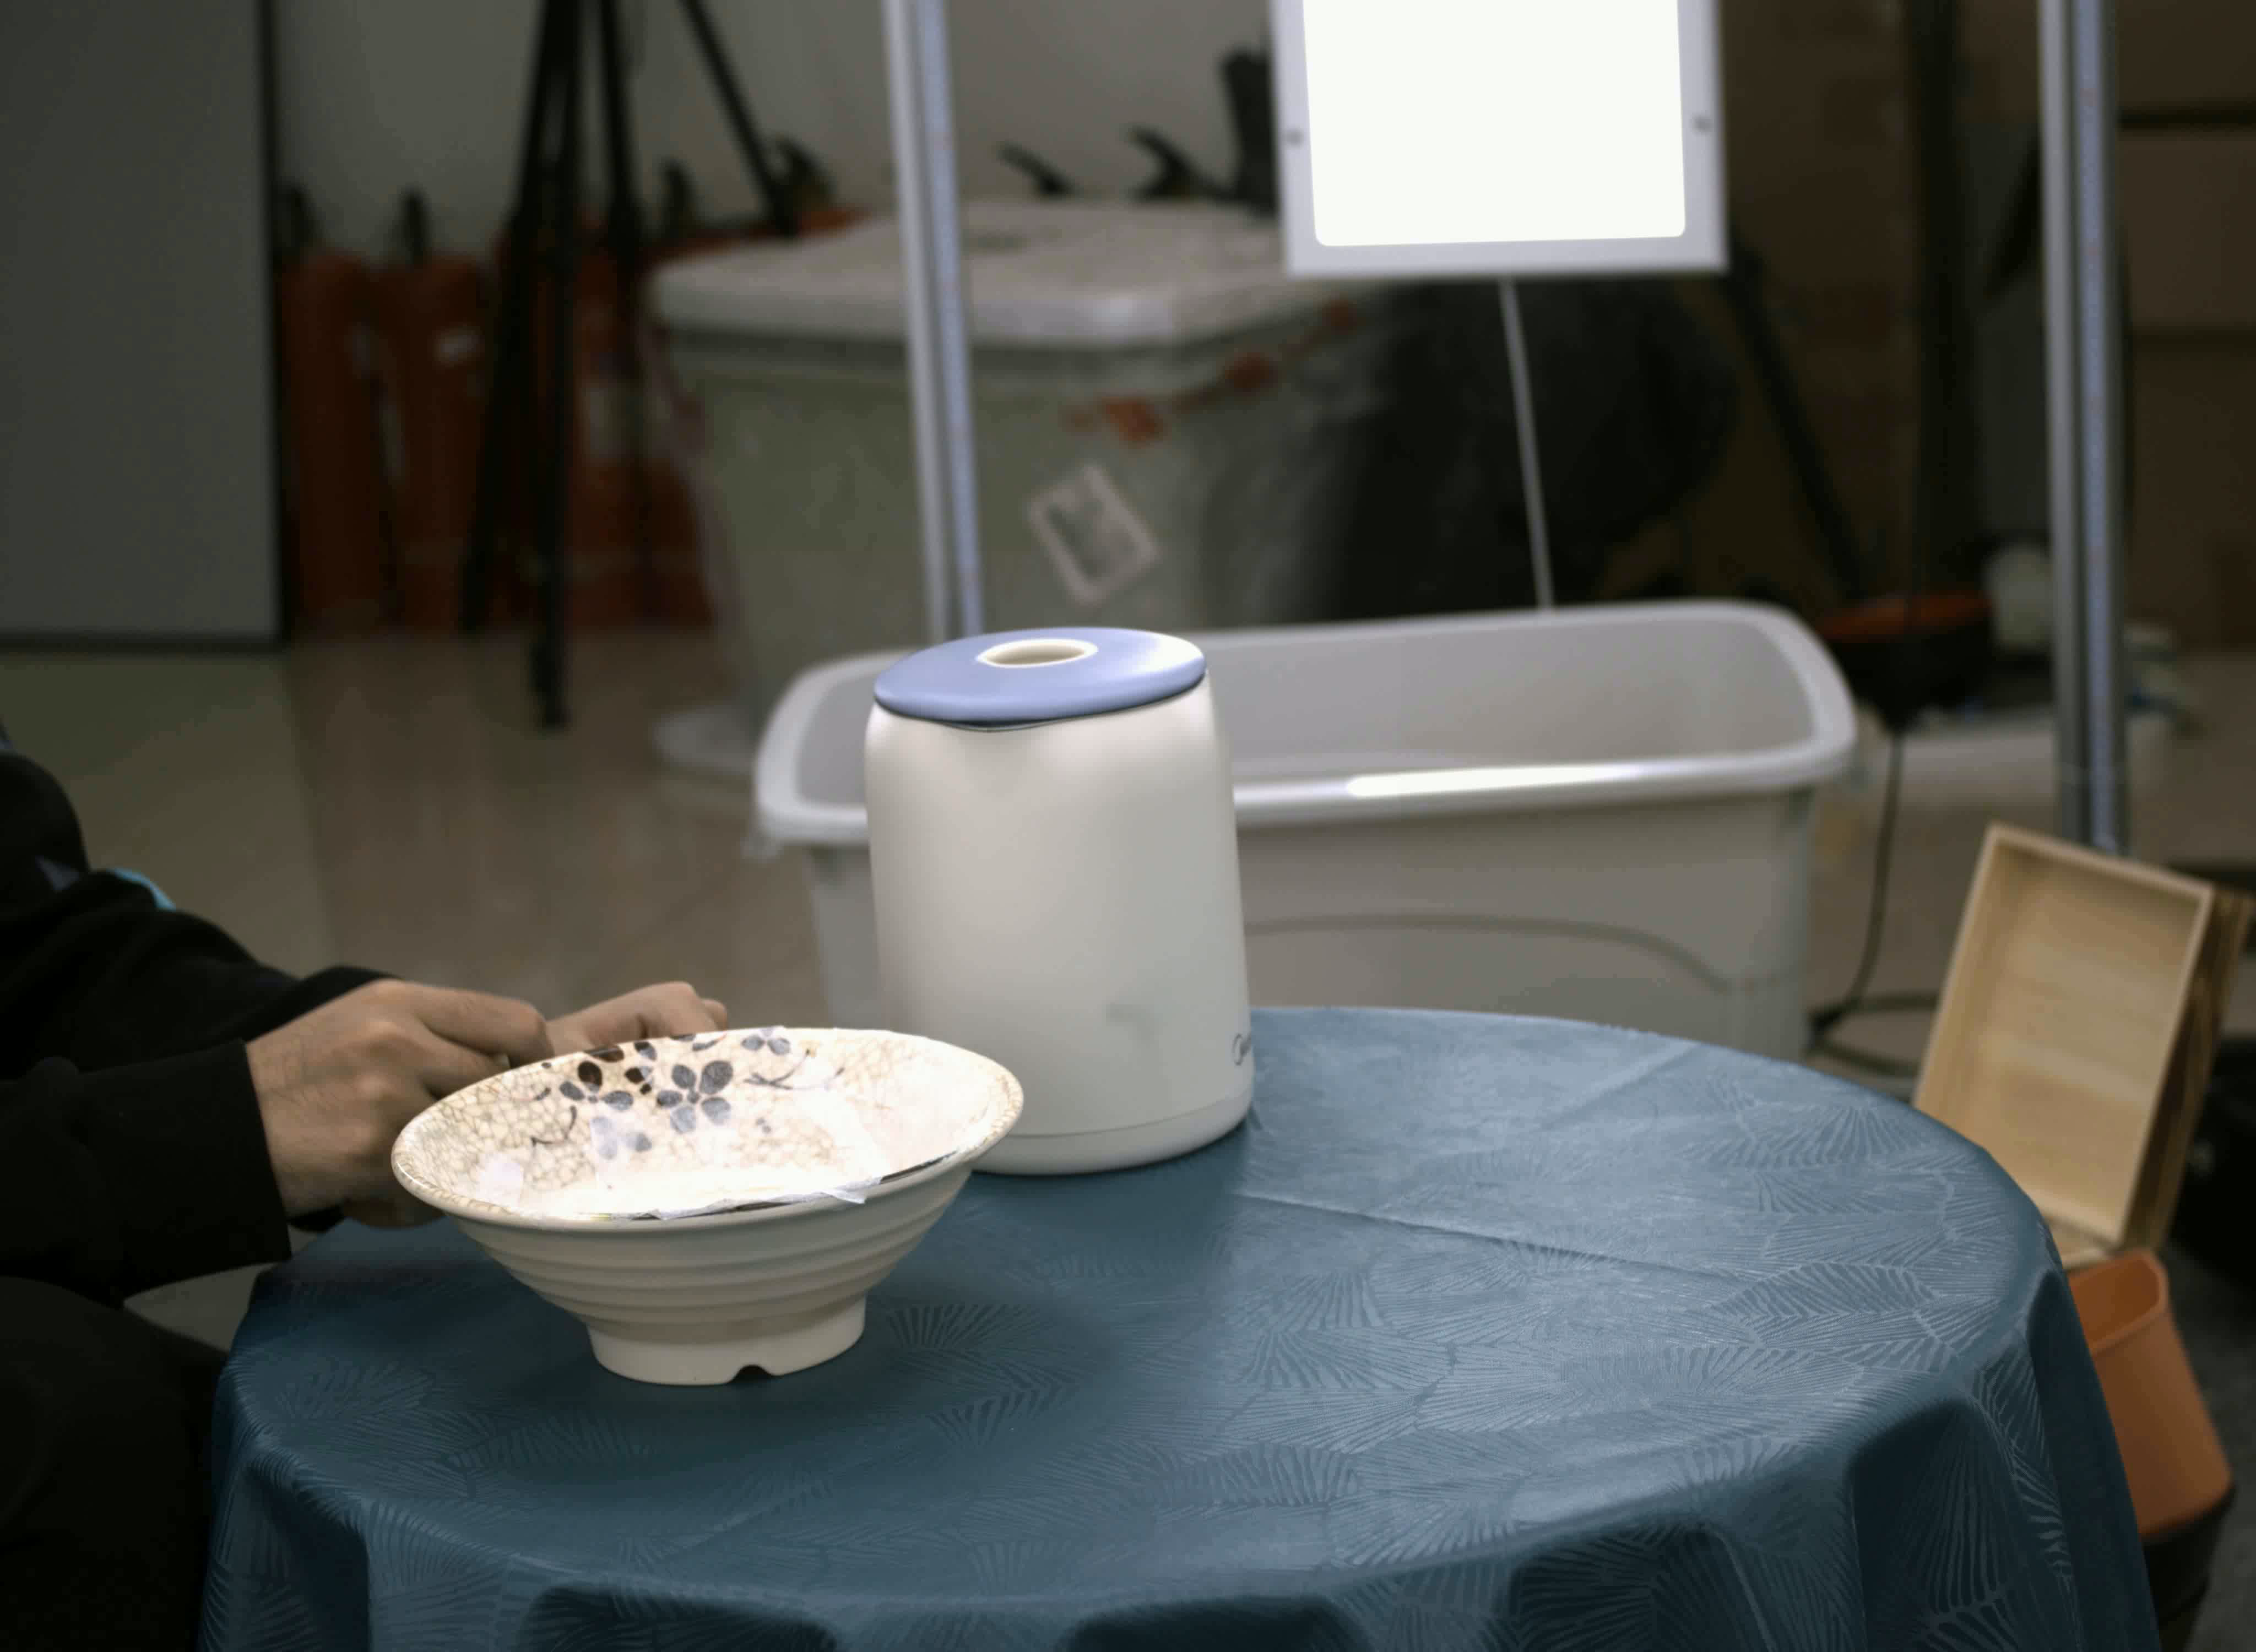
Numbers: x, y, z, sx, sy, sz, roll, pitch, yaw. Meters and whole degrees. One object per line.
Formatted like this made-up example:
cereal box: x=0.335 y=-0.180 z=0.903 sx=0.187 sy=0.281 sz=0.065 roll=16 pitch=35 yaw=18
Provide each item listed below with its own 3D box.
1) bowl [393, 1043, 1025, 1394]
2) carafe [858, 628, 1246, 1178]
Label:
bowl: x=-0.129 y=0.132 z=1.768 sx=0.203 sy=0.078 sz=0.204 roll=-7 pitch=12 yaw=0
carafe: x=-0.022 y=0.021 z=1.976 sx=0.133 sy=0.183 sz=0.188 roll=0 pitch=12 yaw=13
